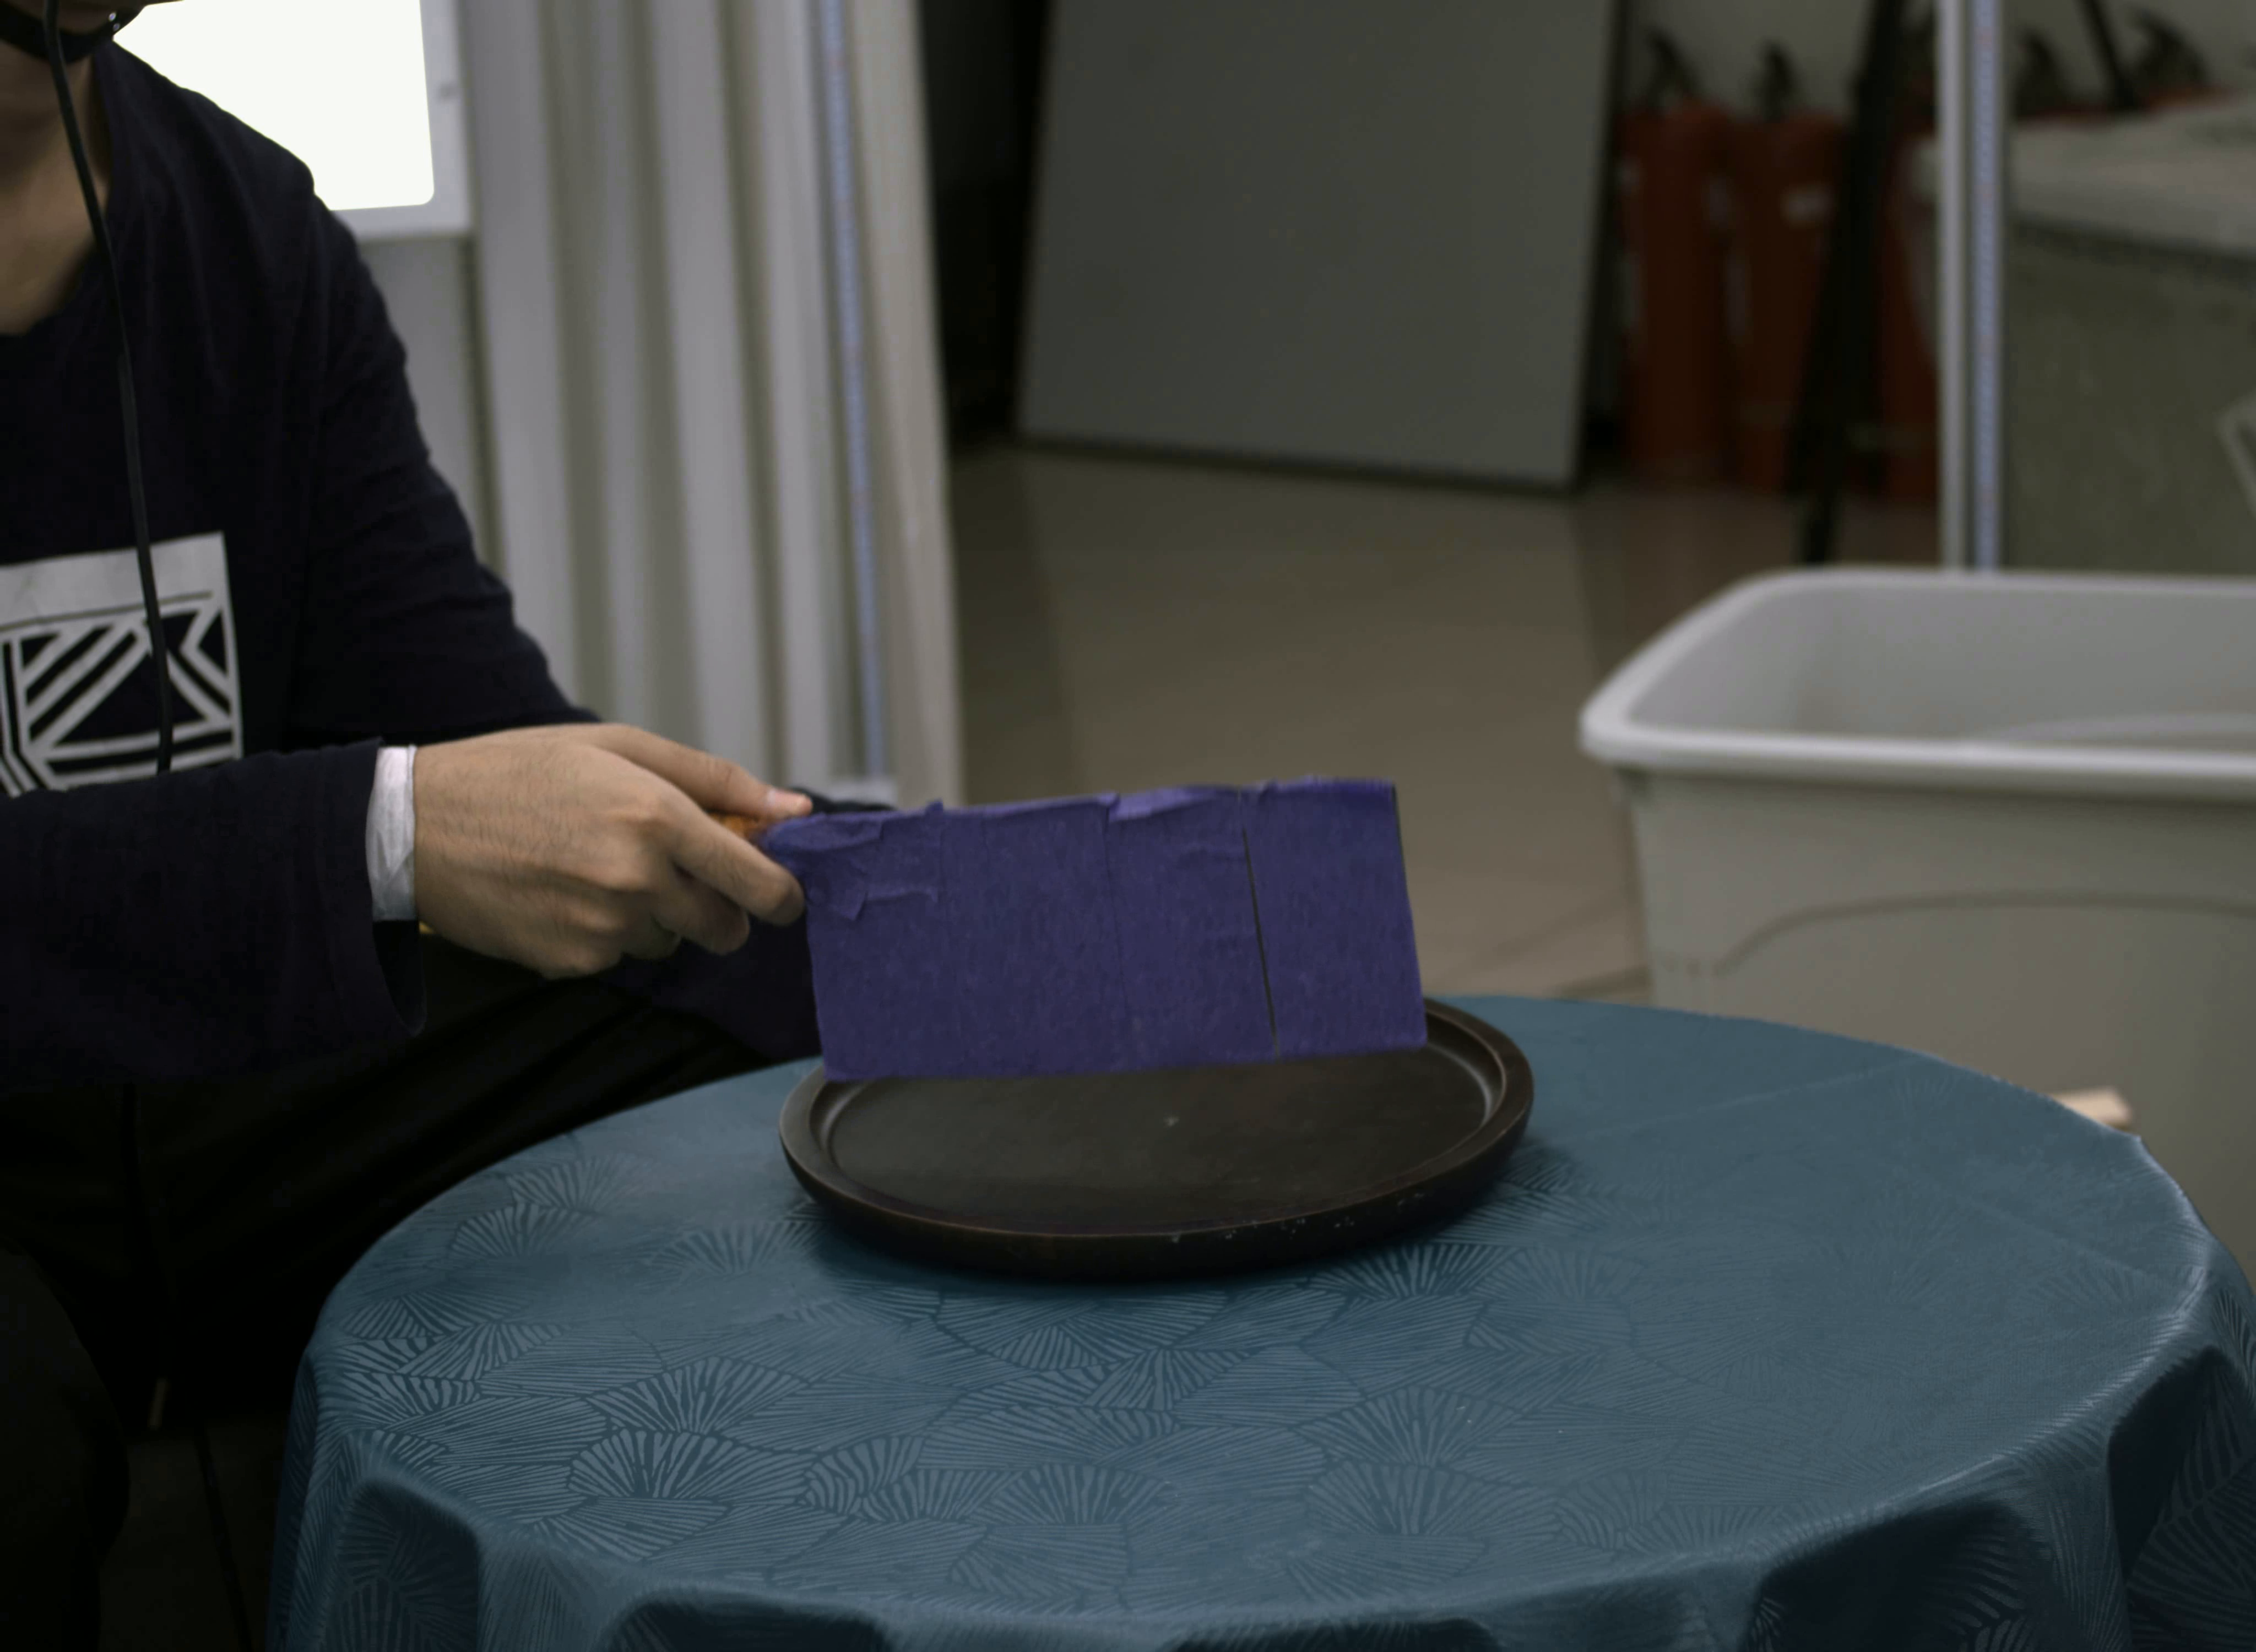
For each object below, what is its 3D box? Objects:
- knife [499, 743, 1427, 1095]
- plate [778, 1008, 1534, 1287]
[{"bbox_3d":[-0.056,0.038,1.755,0.315,0.105,0.032,-5,5,21],"label":"knife"},{"bbox_3d":[0.010,0.100,1.786,0.251,0.029,0.255,-4,17,0],"label":"plate"}]
